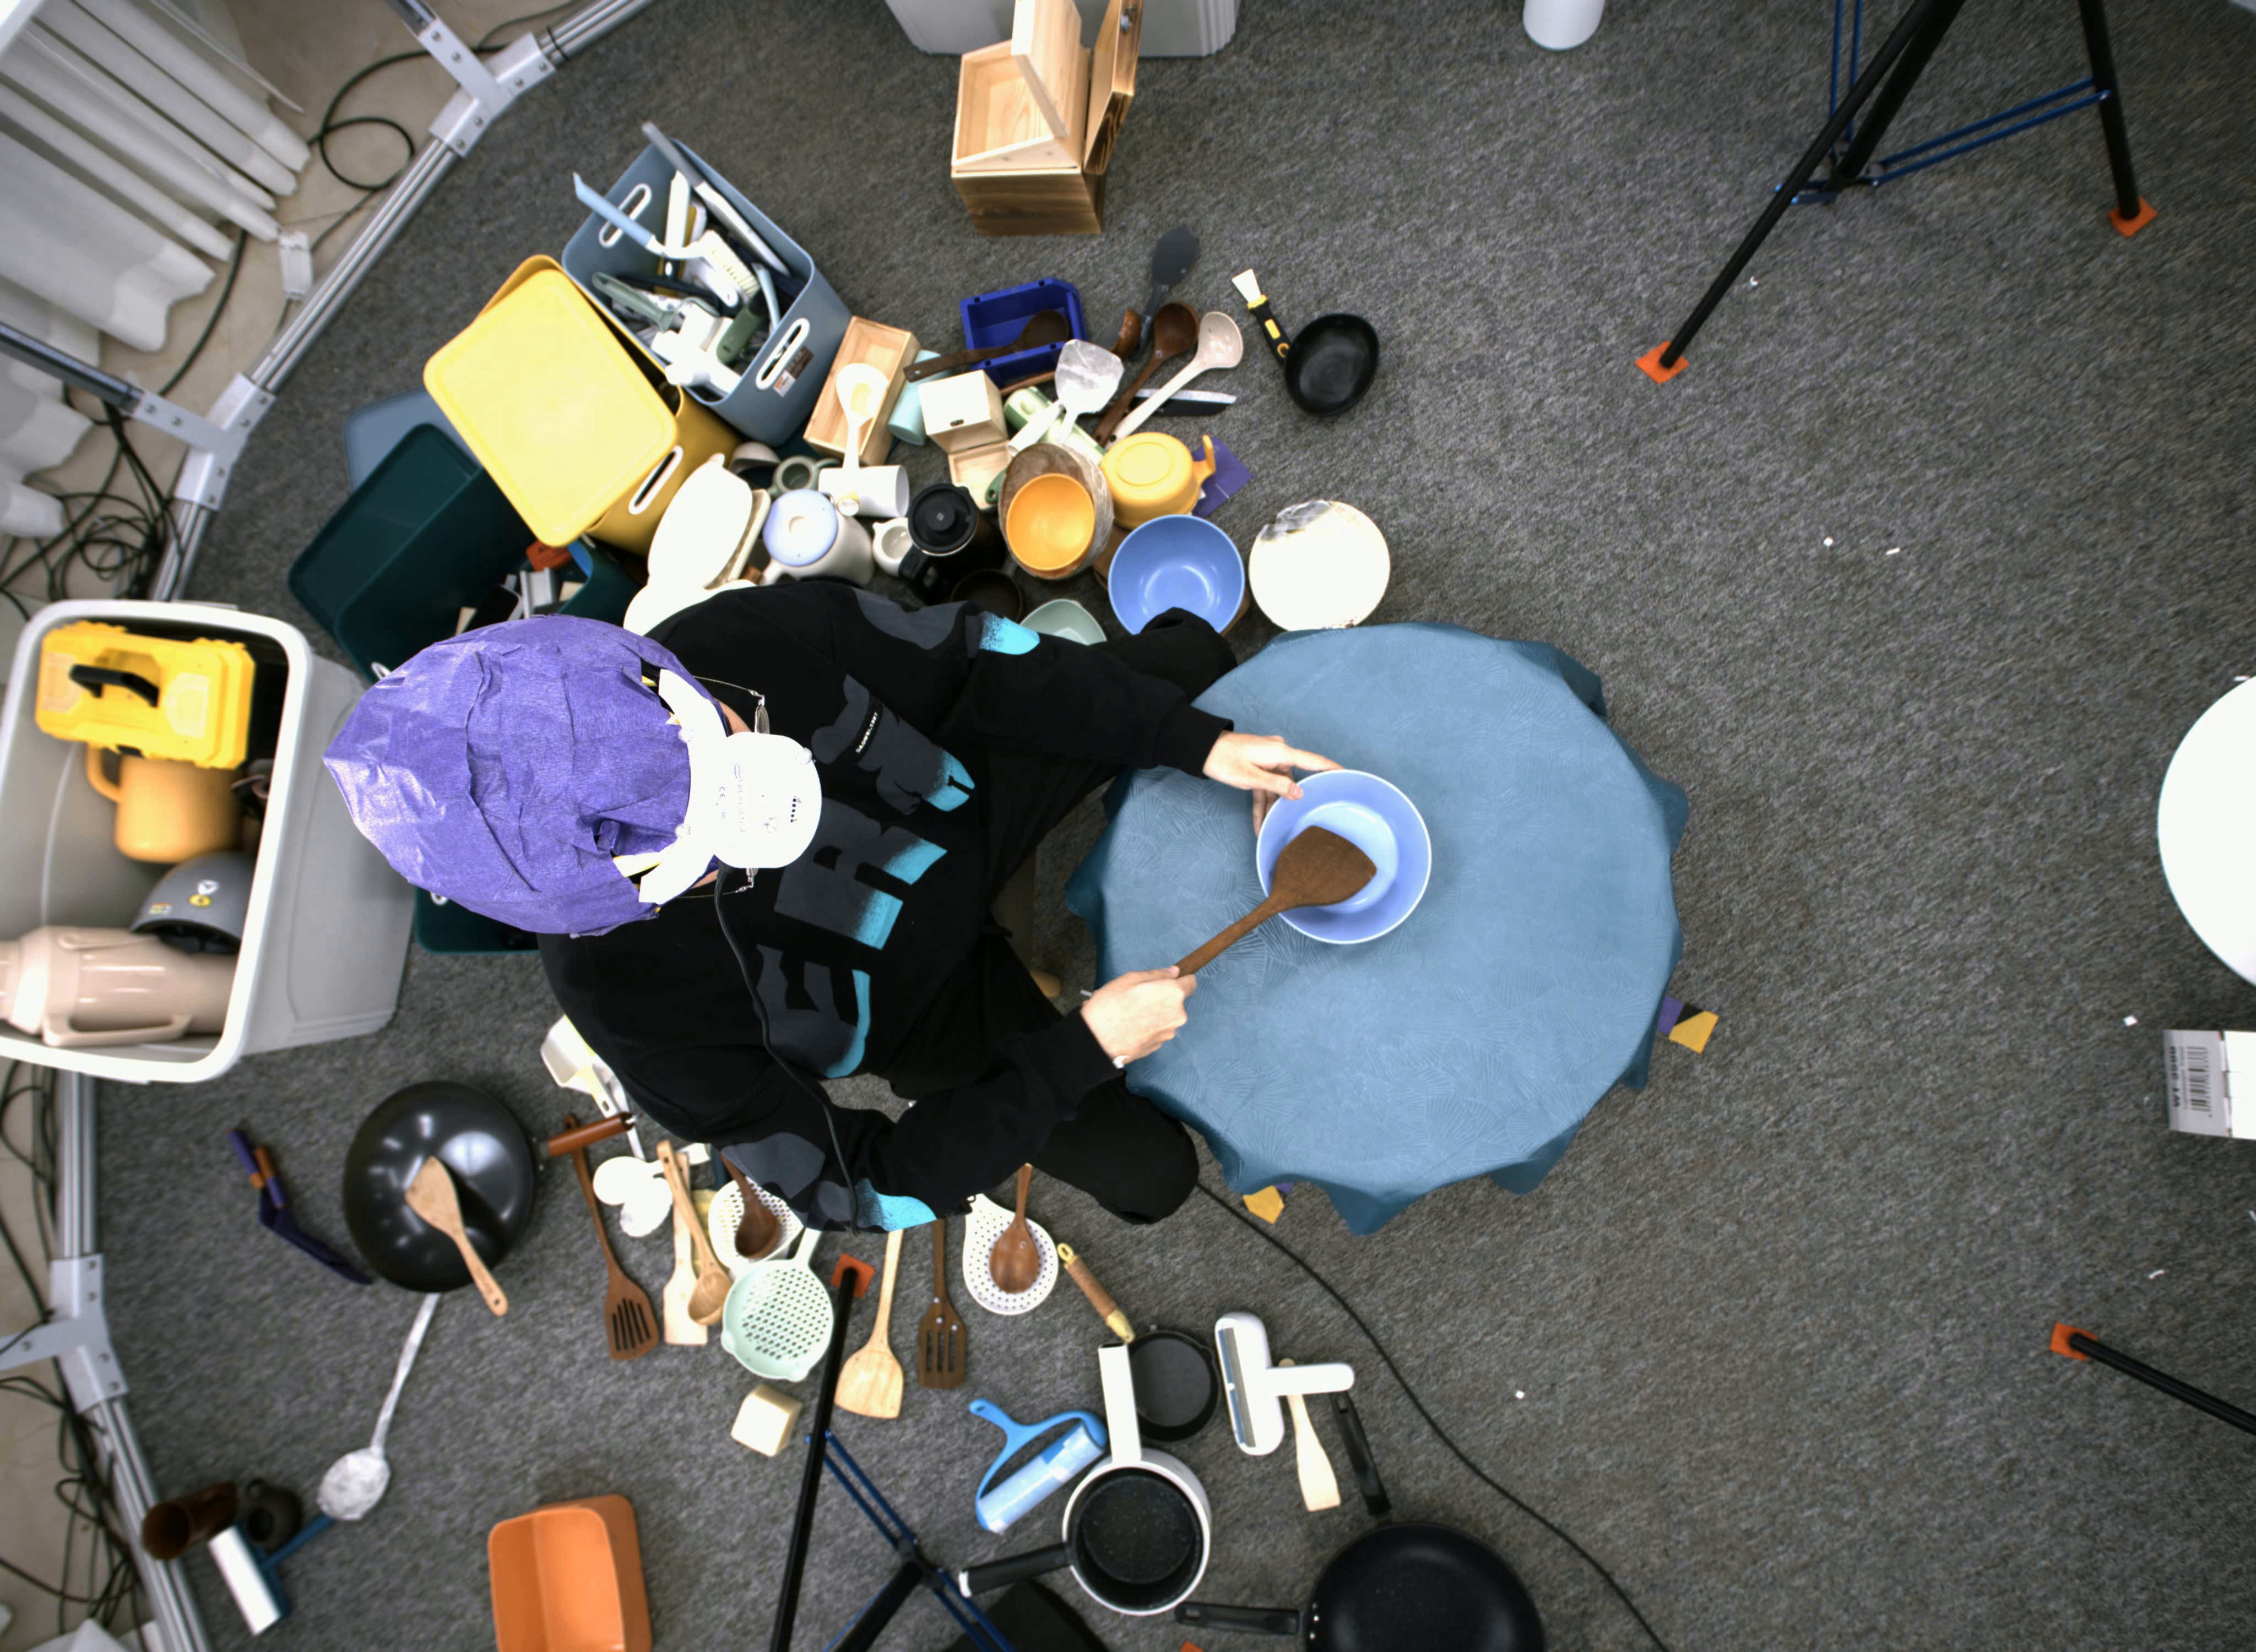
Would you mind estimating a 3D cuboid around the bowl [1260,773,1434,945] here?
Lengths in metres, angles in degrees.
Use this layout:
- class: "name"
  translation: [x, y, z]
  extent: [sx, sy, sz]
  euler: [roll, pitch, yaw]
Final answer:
- class: "bowl"
  translation: [0.226, 0.034, 1.432]
  extent: [0.177, 0.070, 0.176]
  euler: [0, 89, 10]

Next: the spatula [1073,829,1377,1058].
- class: "spatula"
  translation: [0.093, 0.113, 1.346]
  extent: [0.379, 0.016, 0.095]
  euler: [-33, 54, -29]
